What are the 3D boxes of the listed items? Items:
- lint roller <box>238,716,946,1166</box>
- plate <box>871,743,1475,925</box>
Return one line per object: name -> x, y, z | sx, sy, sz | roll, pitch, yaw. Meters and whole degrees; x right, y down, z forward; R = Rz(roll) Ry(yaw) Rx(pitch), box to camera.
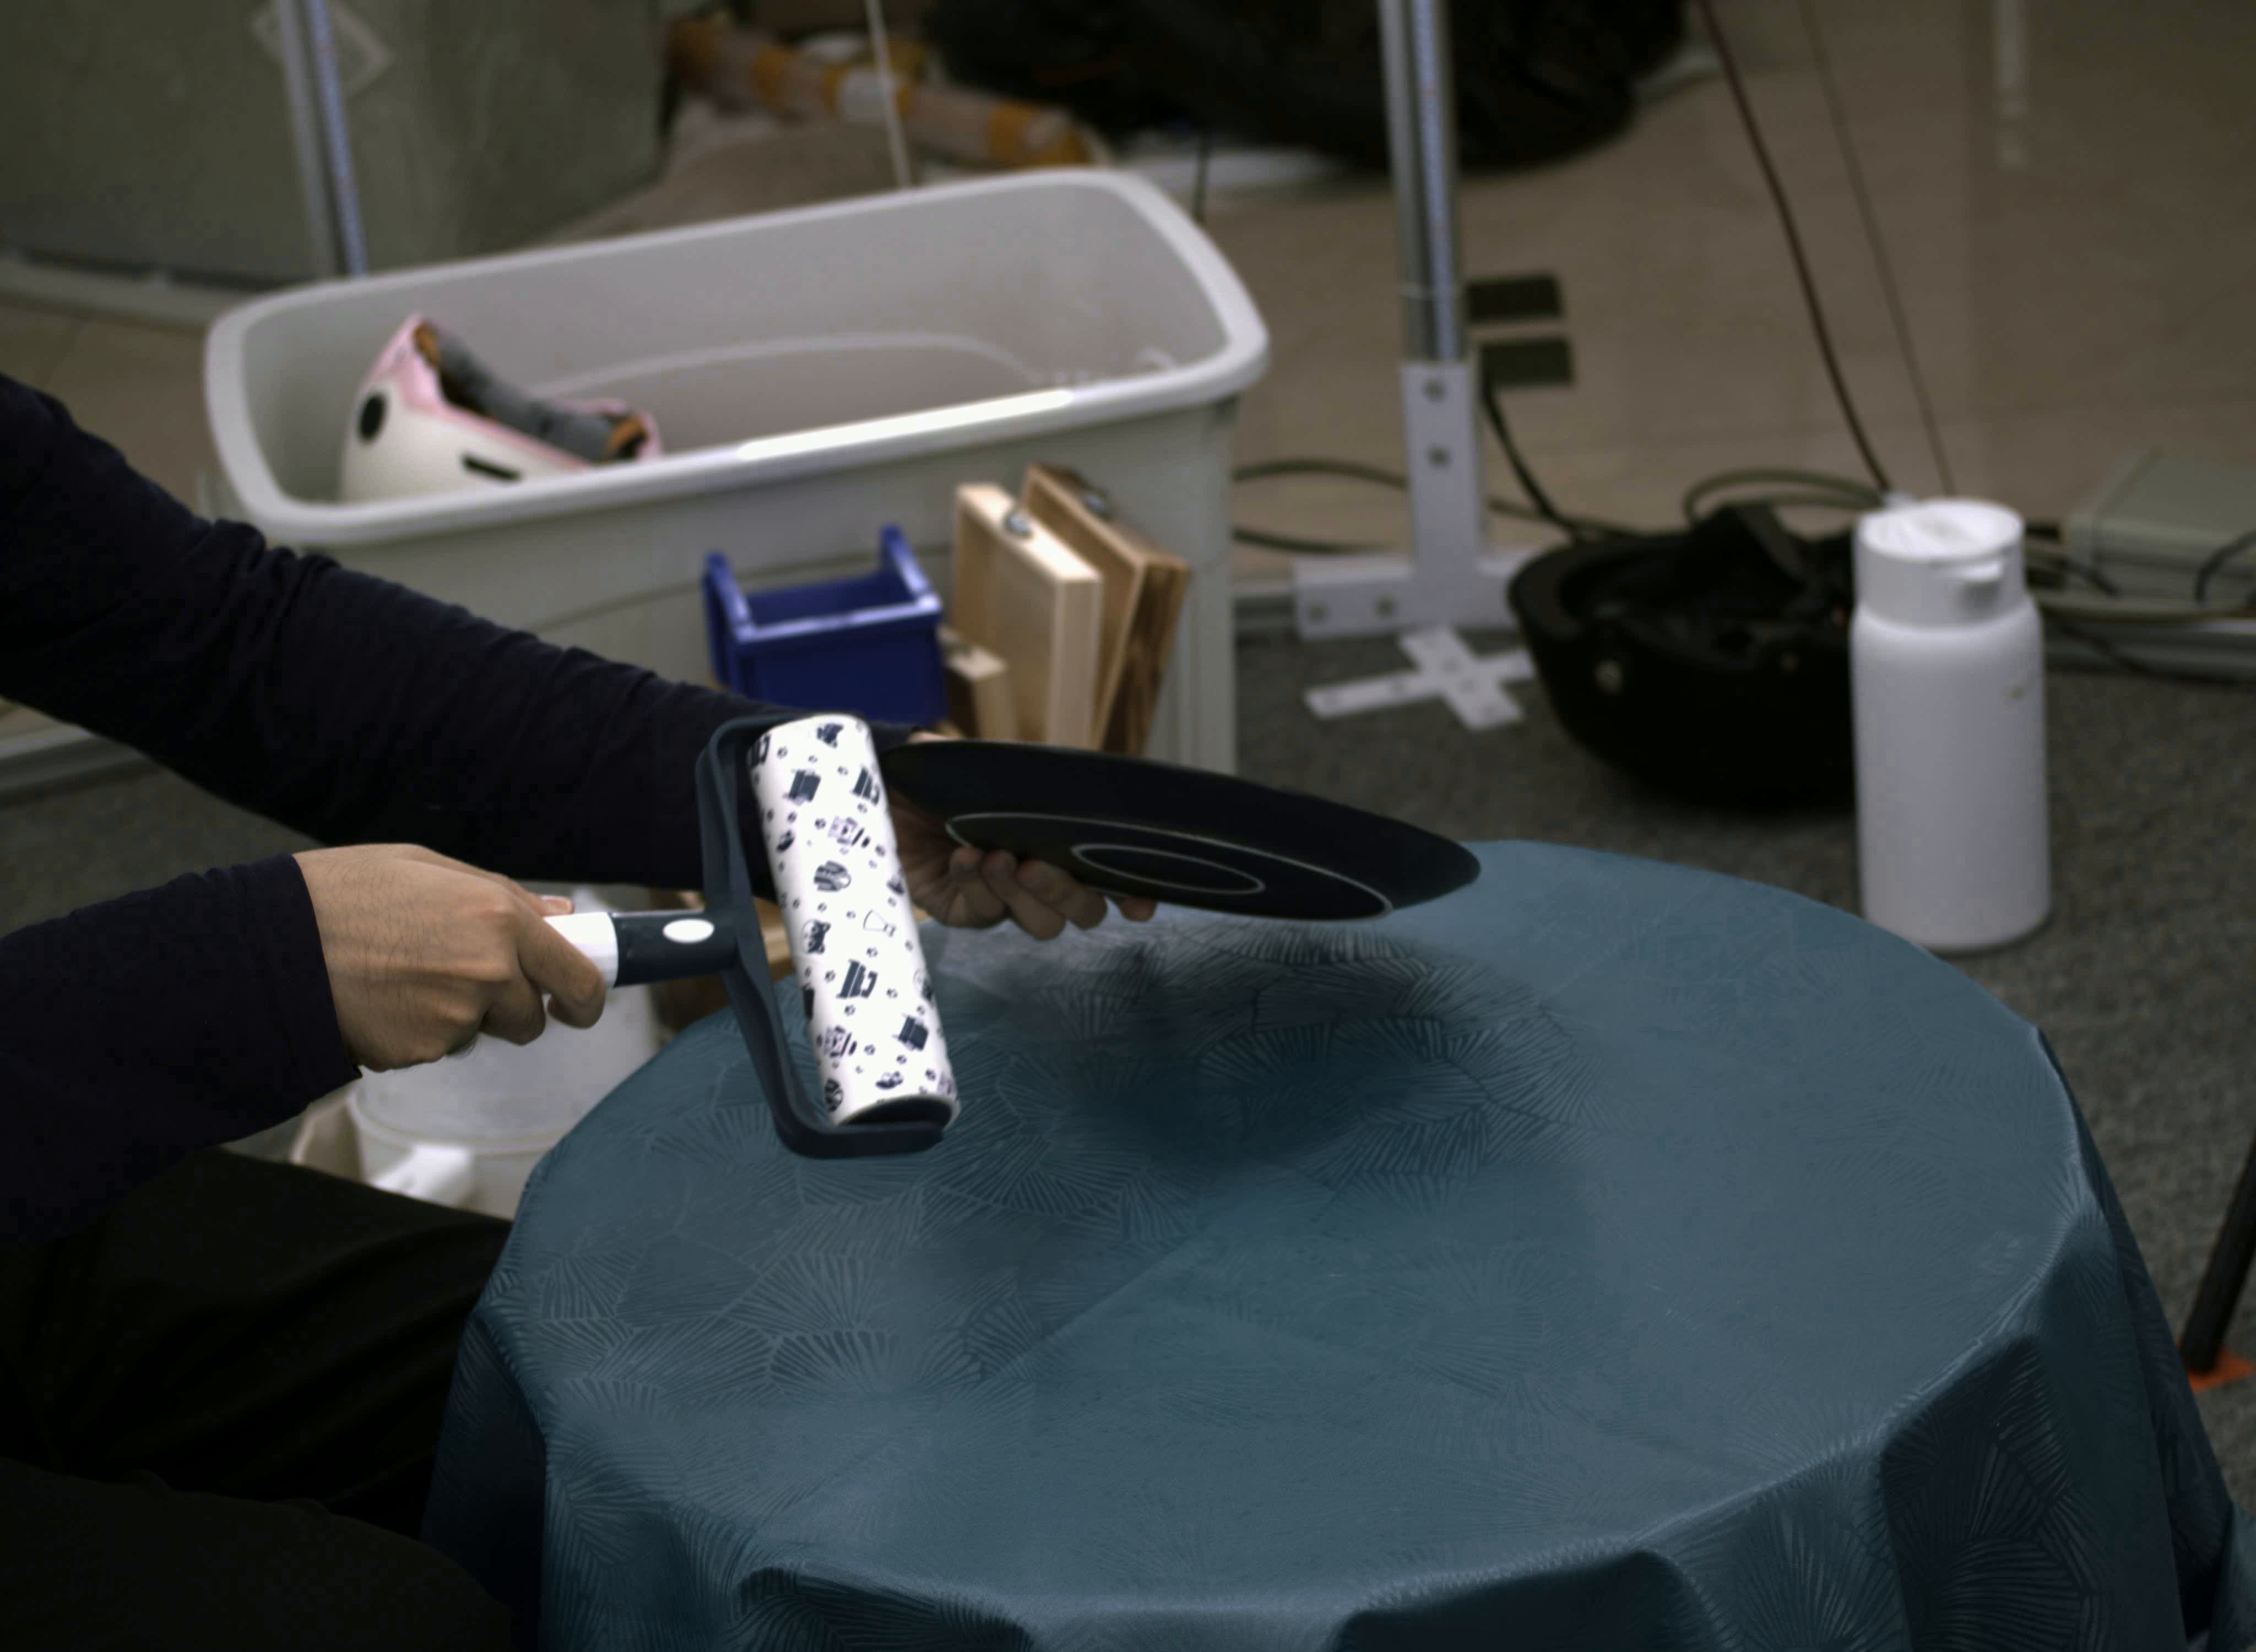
lint roller -> -0.198, 0.048, 2.052 | 0.246, 0.051, 0.174 | -4, 64, -22
plate -> 0.016, 0.008, 2.235 | 0.244, 0.023, 0.245 | 11, -9, 1
